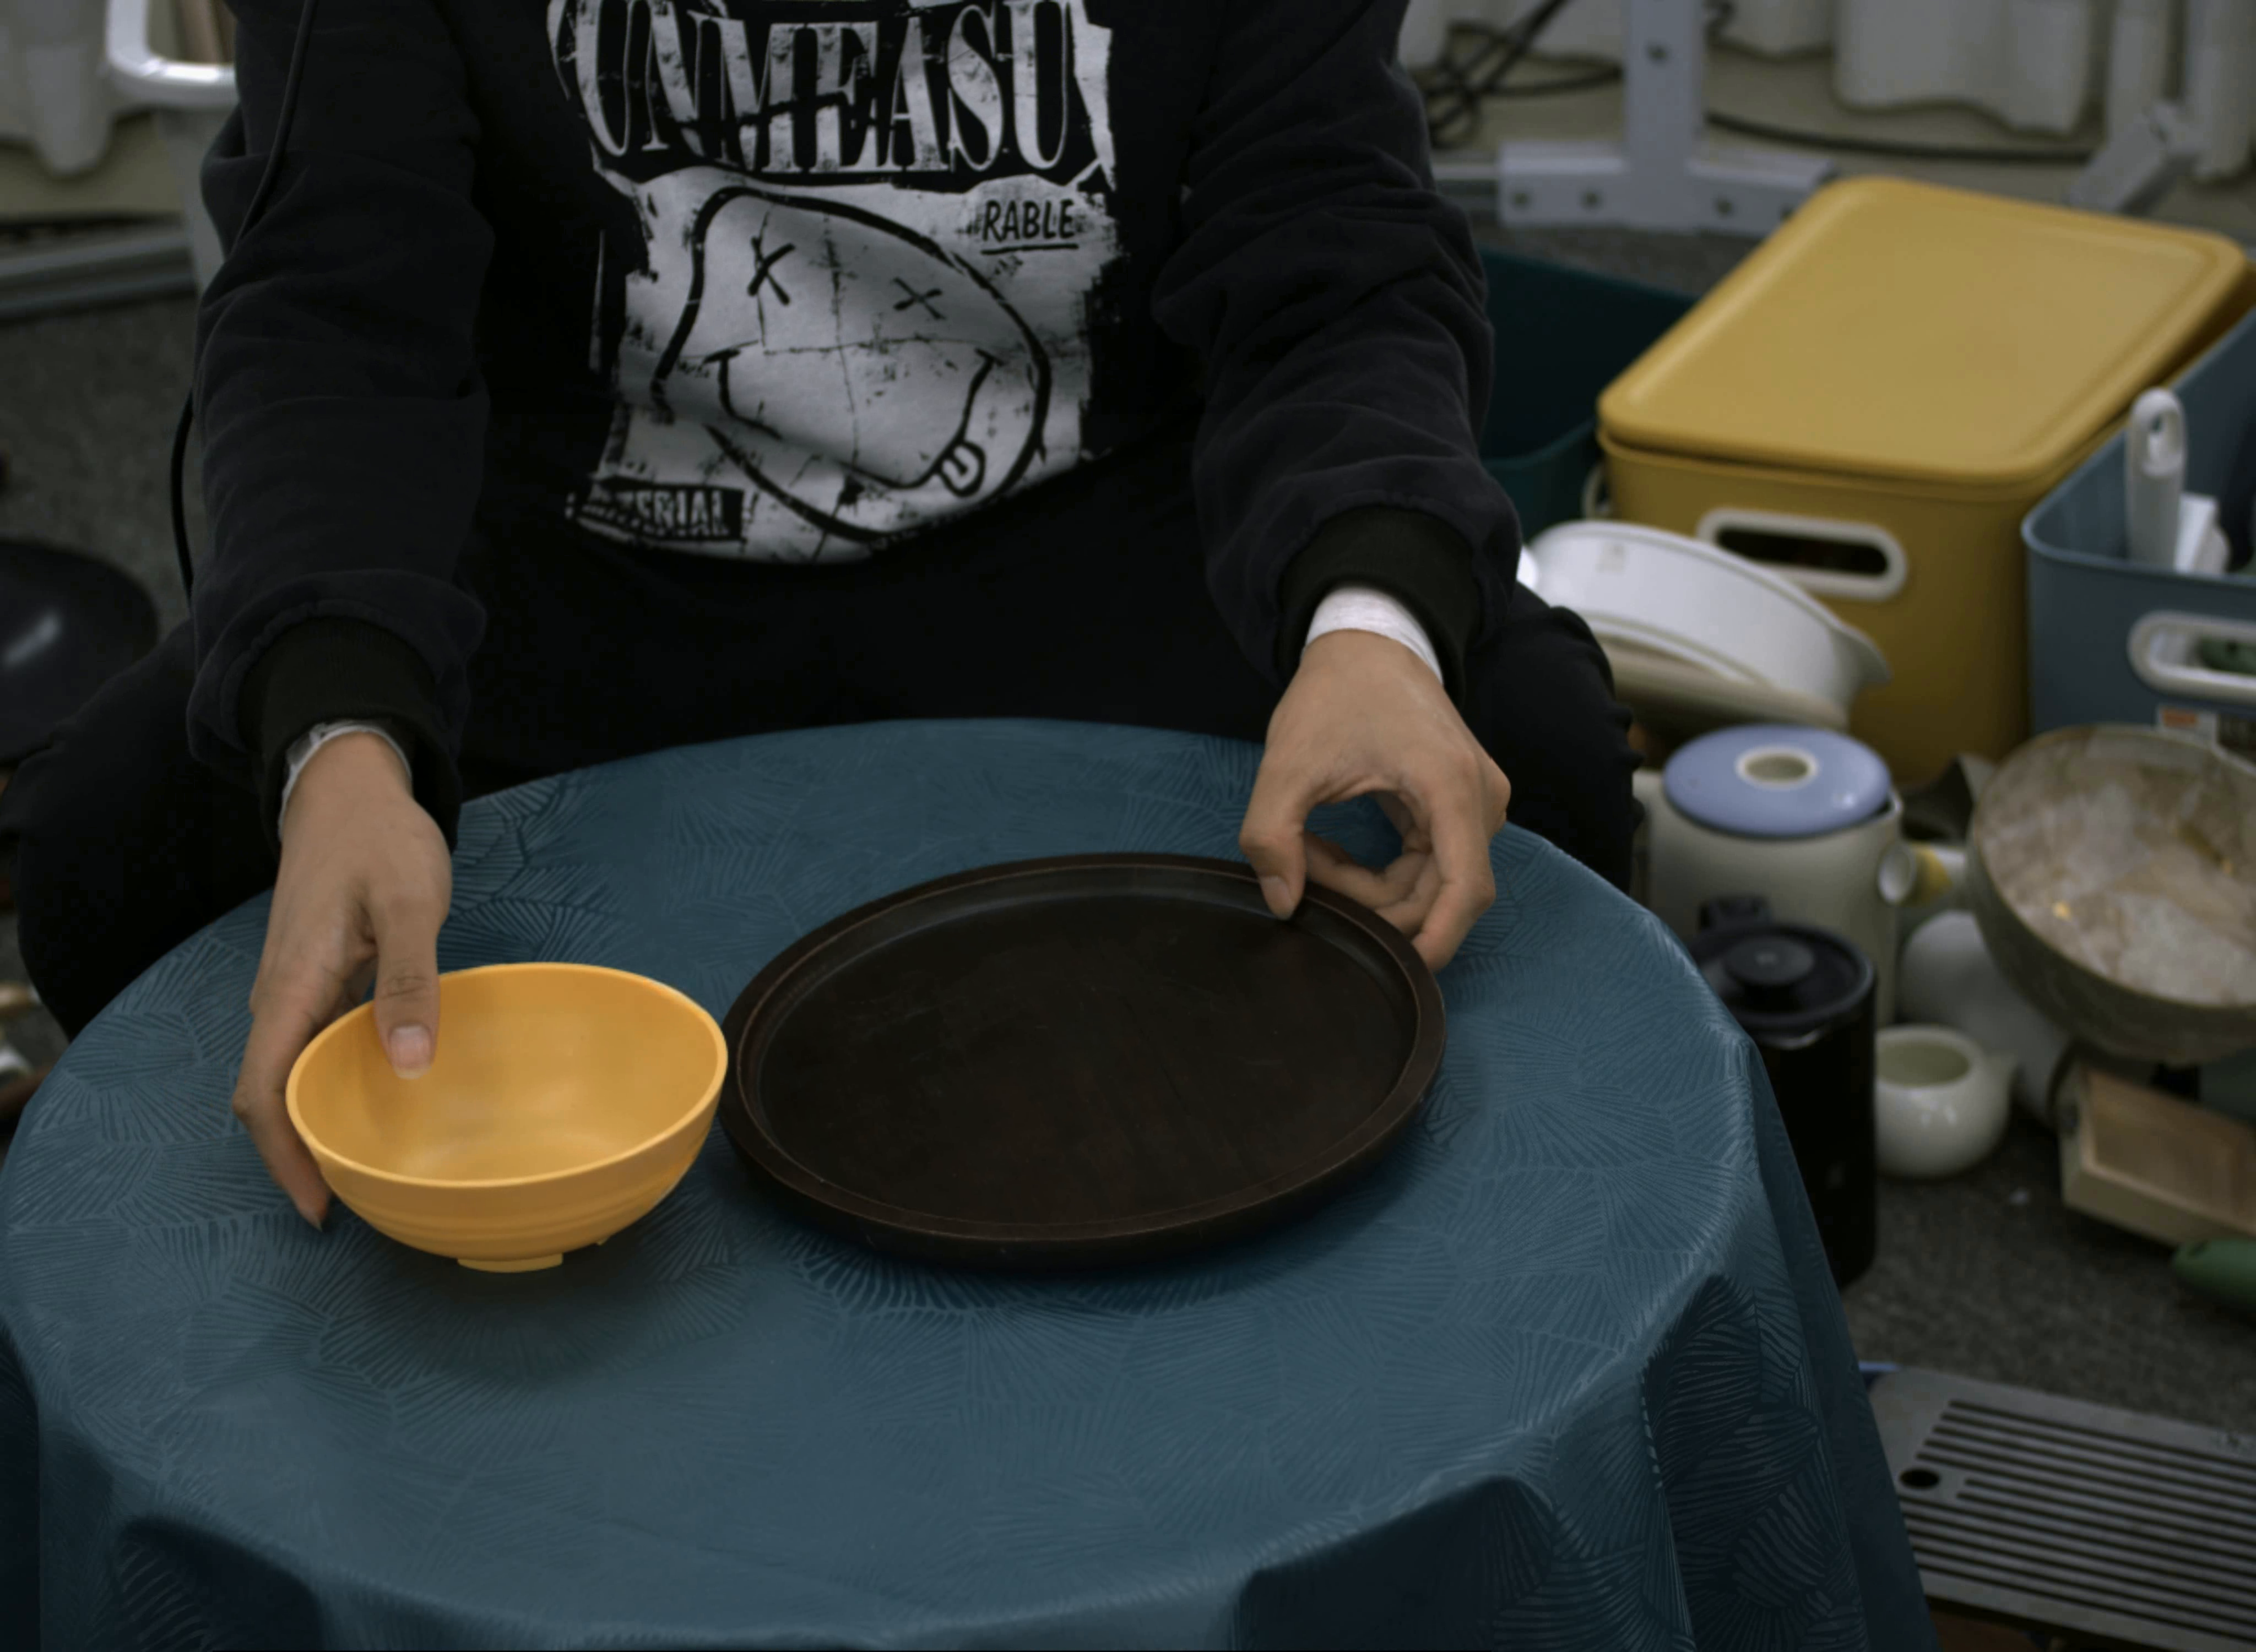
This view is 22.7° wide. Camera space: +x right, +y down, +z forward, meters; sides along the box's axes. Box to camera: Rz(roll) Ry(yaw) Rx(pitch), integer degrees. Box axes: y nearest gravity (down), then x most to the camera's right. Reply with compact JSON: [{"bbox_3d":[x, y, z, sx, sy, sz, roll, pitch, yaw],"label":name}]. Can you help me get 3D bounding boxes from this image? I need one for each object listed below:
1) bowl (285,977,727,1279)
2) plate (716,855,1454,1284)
[{"bbox_3d":[-0.203,0.108,1.848,0.144,0.059,0.147,-1,25,1],"label":"bowl"},{"bbox_3d":[-0.015,0.081,1.912,0.253,0.029,0.259,-5,28,3],"label":"plate"}]
